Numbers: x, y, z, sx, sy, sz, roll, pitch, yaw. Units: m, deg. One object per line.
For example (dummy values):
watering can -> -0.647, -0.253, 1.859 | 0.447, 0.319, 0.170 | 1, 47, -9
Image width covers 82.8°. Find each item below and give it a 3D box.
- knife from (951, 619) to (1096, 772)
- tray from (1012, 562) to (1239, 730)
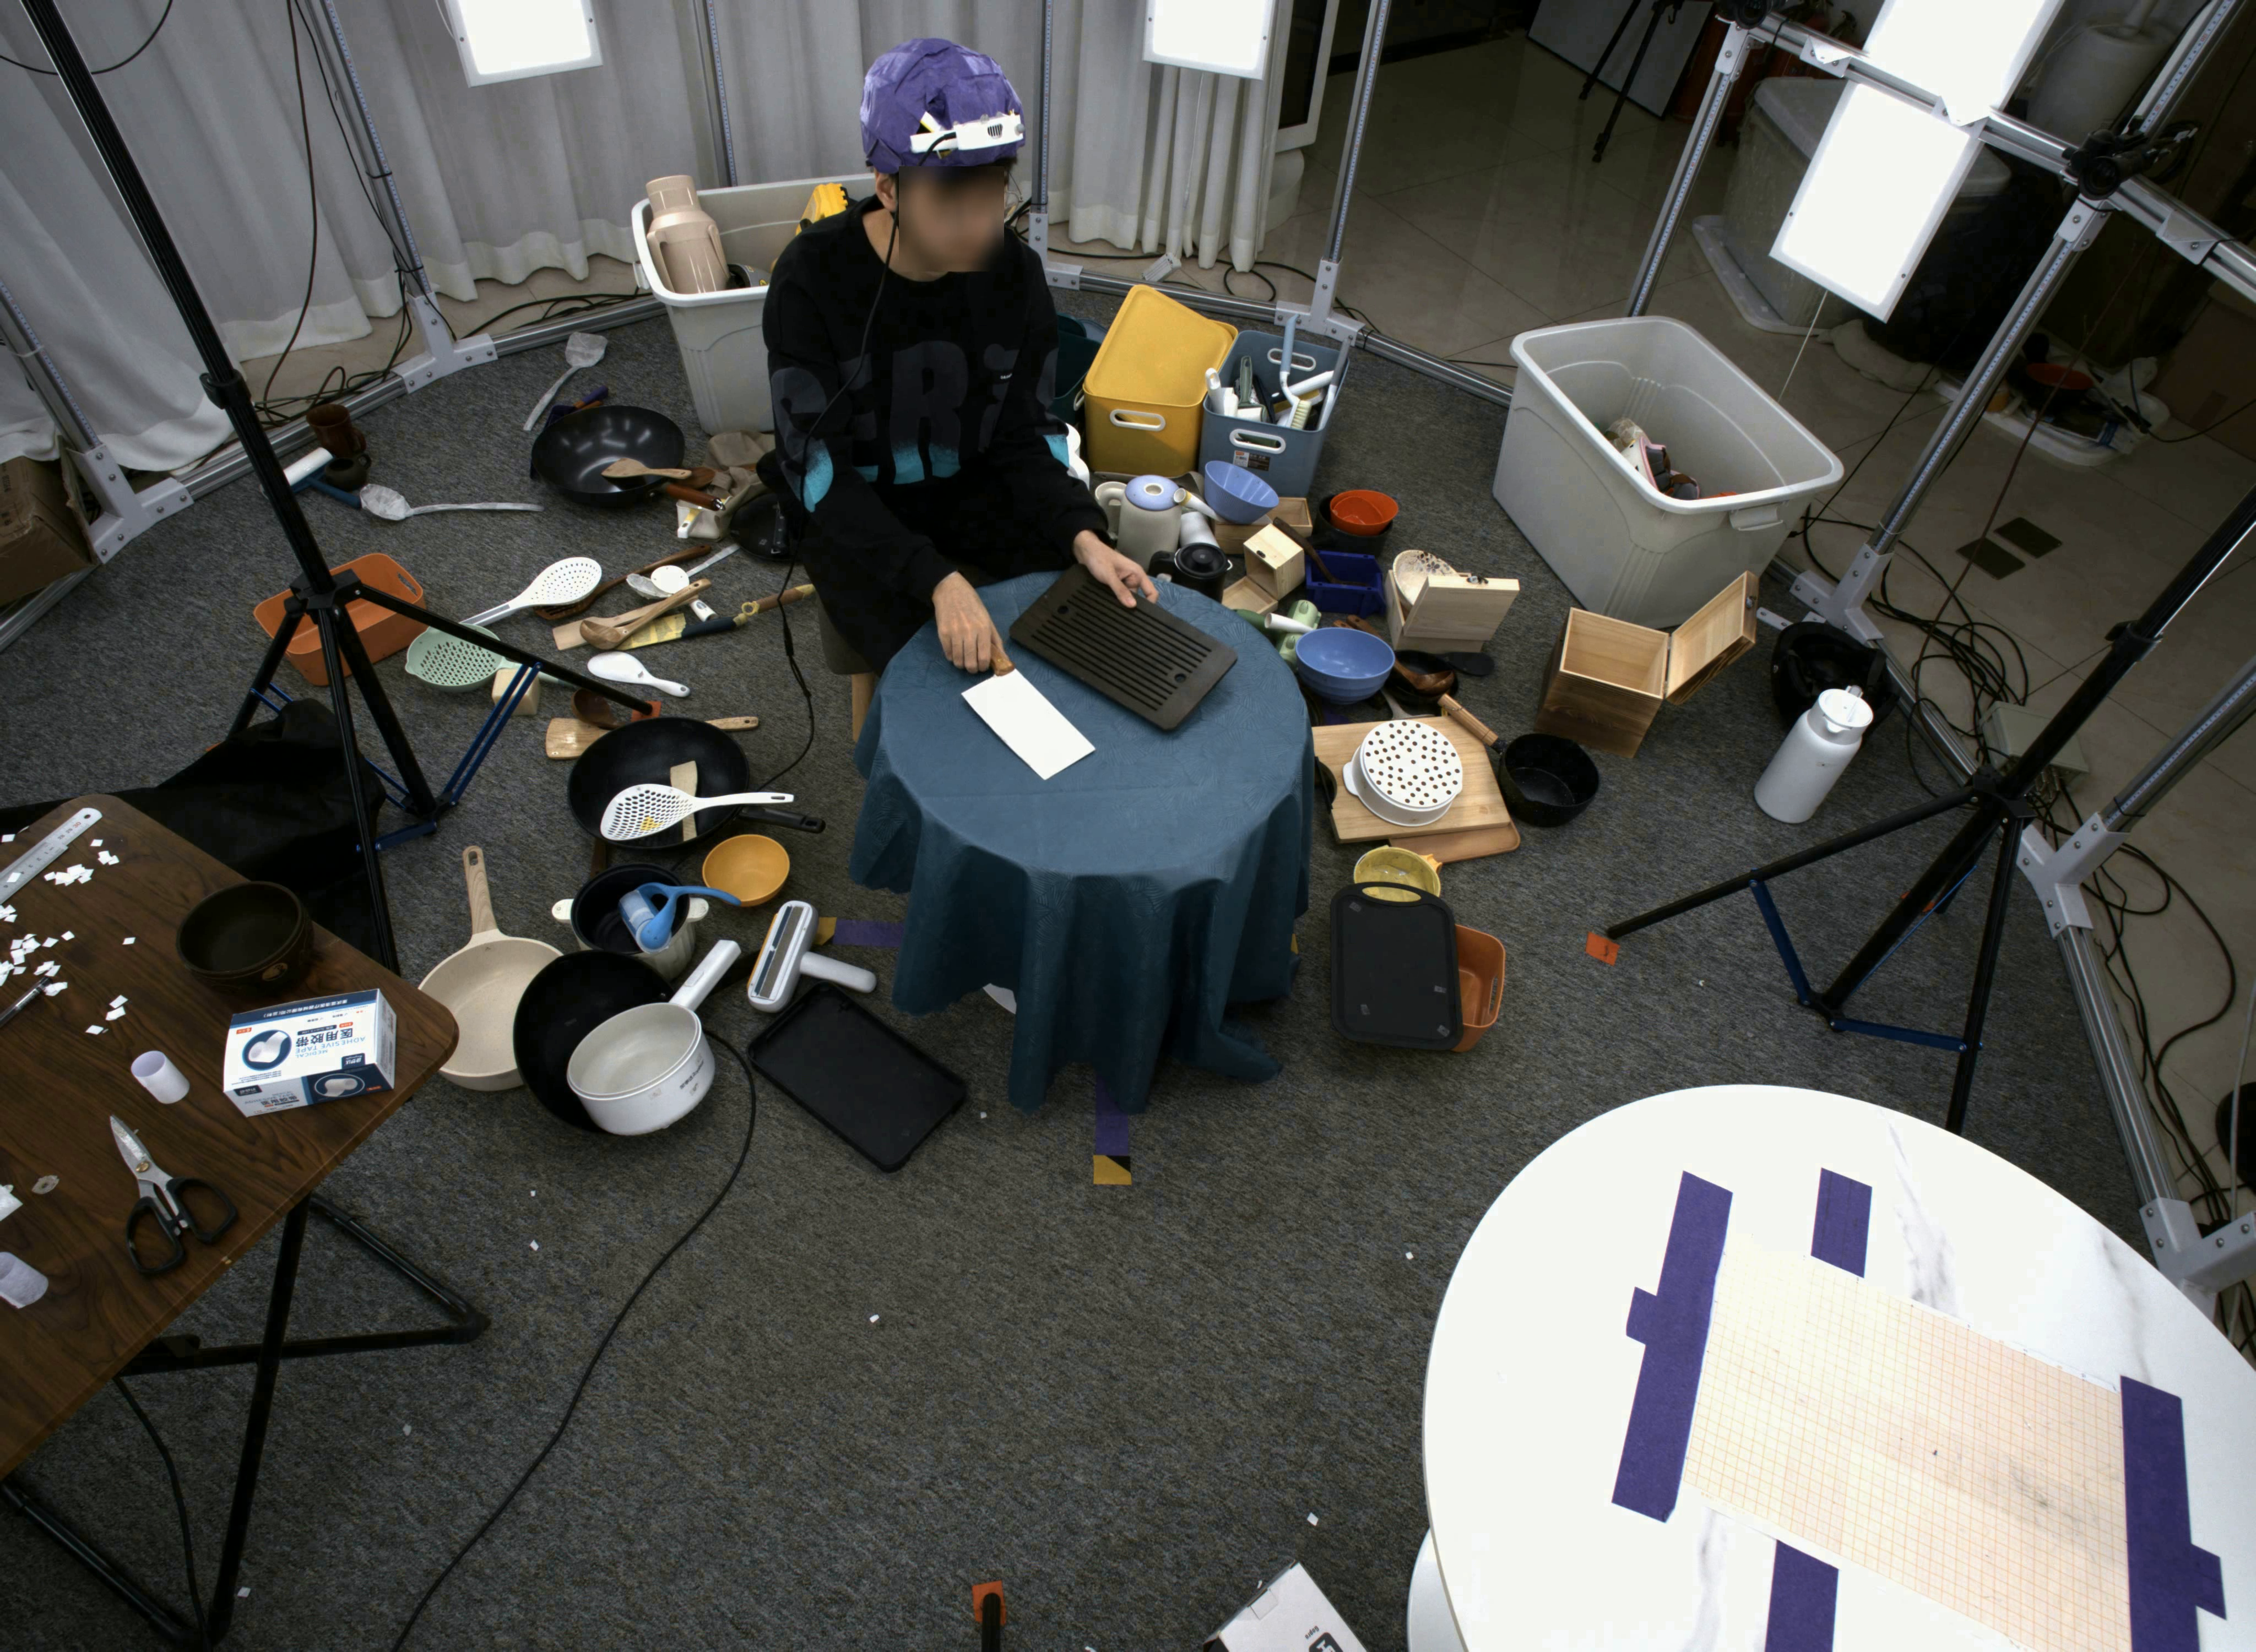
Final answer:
knife -> -0.170, -0.183, 1.802 | 0.093, 0.020, 0.311 | -32, 61, -24
tray -> -0.006, -0.264, 1.866 | 0.310, 0.018, 0.172 | 34, 66, 23
